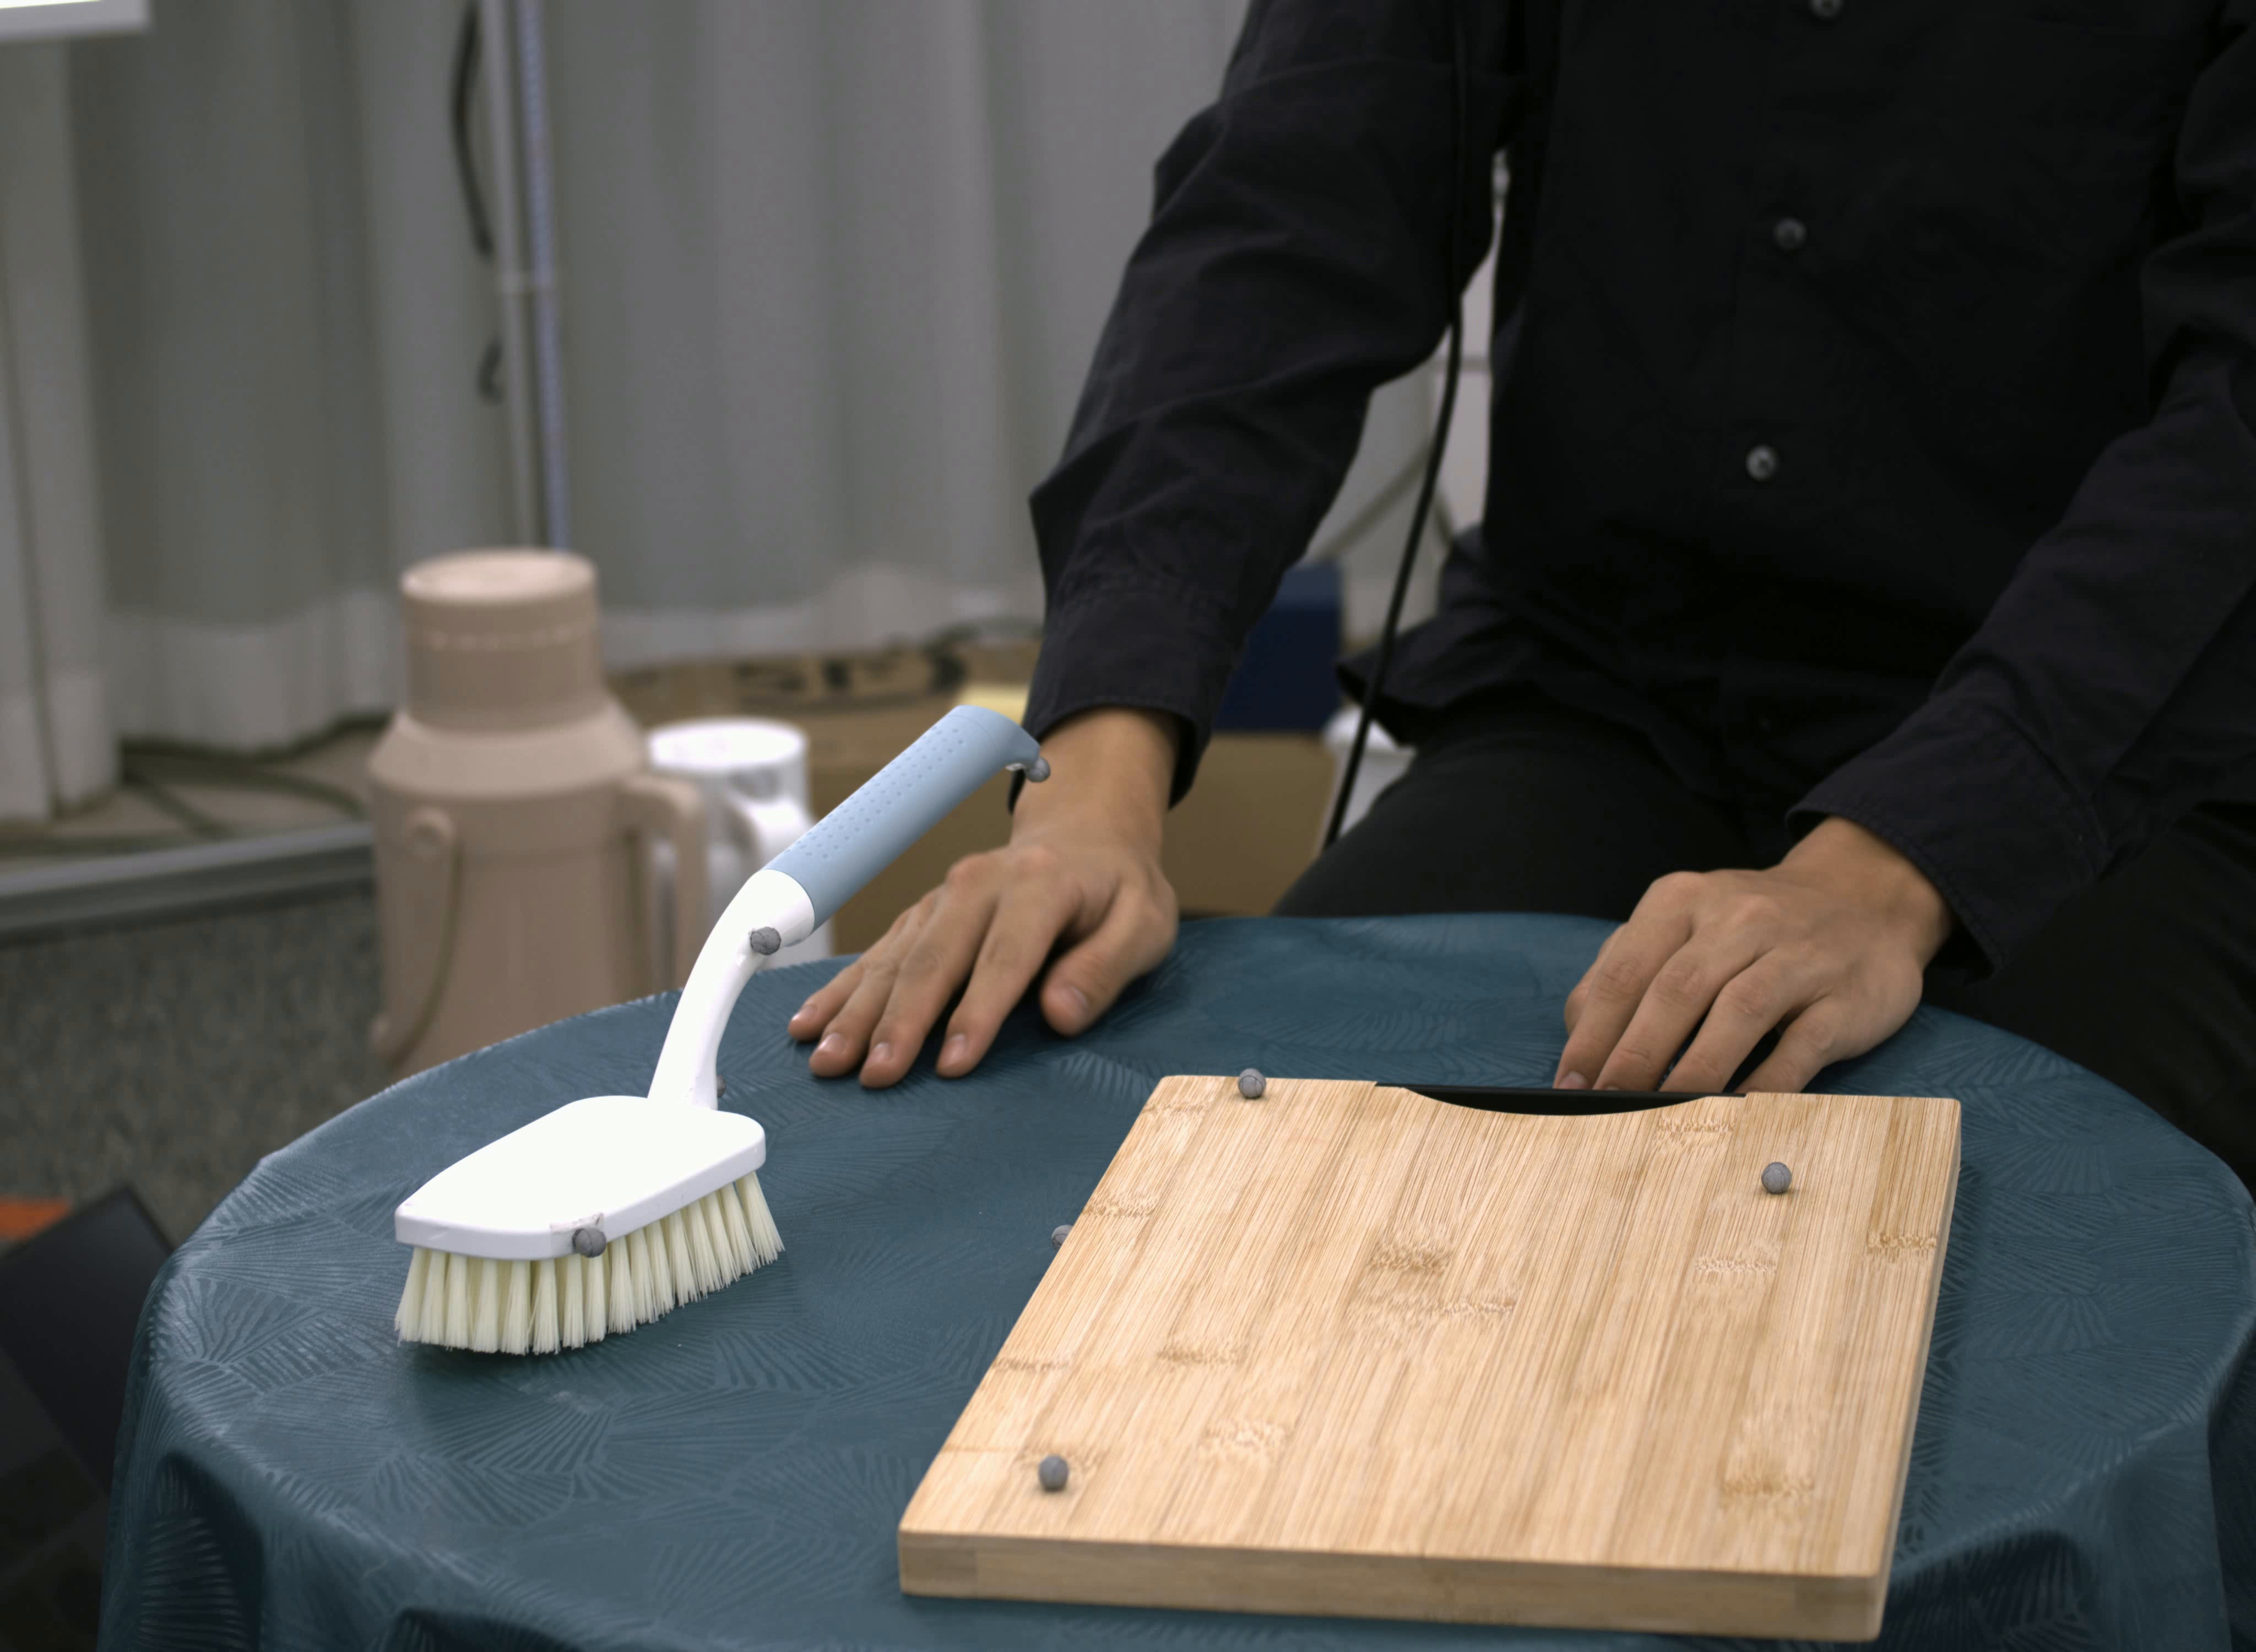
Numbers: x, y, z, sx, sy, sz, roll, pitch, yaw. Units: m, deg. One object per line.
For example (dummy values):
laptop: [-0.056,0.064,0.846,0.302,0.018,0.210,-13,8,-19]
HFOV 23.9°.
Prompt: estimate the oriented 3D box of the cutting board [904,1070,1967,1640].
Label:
cutting board: [0.096,0.134,1.425,0.252,0.023,0.347,1,17,11]

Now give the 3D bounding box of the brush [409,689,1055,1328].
brush: [-0.102,0.067,1.574,0.083,0.085,0.321,39,42,9]
